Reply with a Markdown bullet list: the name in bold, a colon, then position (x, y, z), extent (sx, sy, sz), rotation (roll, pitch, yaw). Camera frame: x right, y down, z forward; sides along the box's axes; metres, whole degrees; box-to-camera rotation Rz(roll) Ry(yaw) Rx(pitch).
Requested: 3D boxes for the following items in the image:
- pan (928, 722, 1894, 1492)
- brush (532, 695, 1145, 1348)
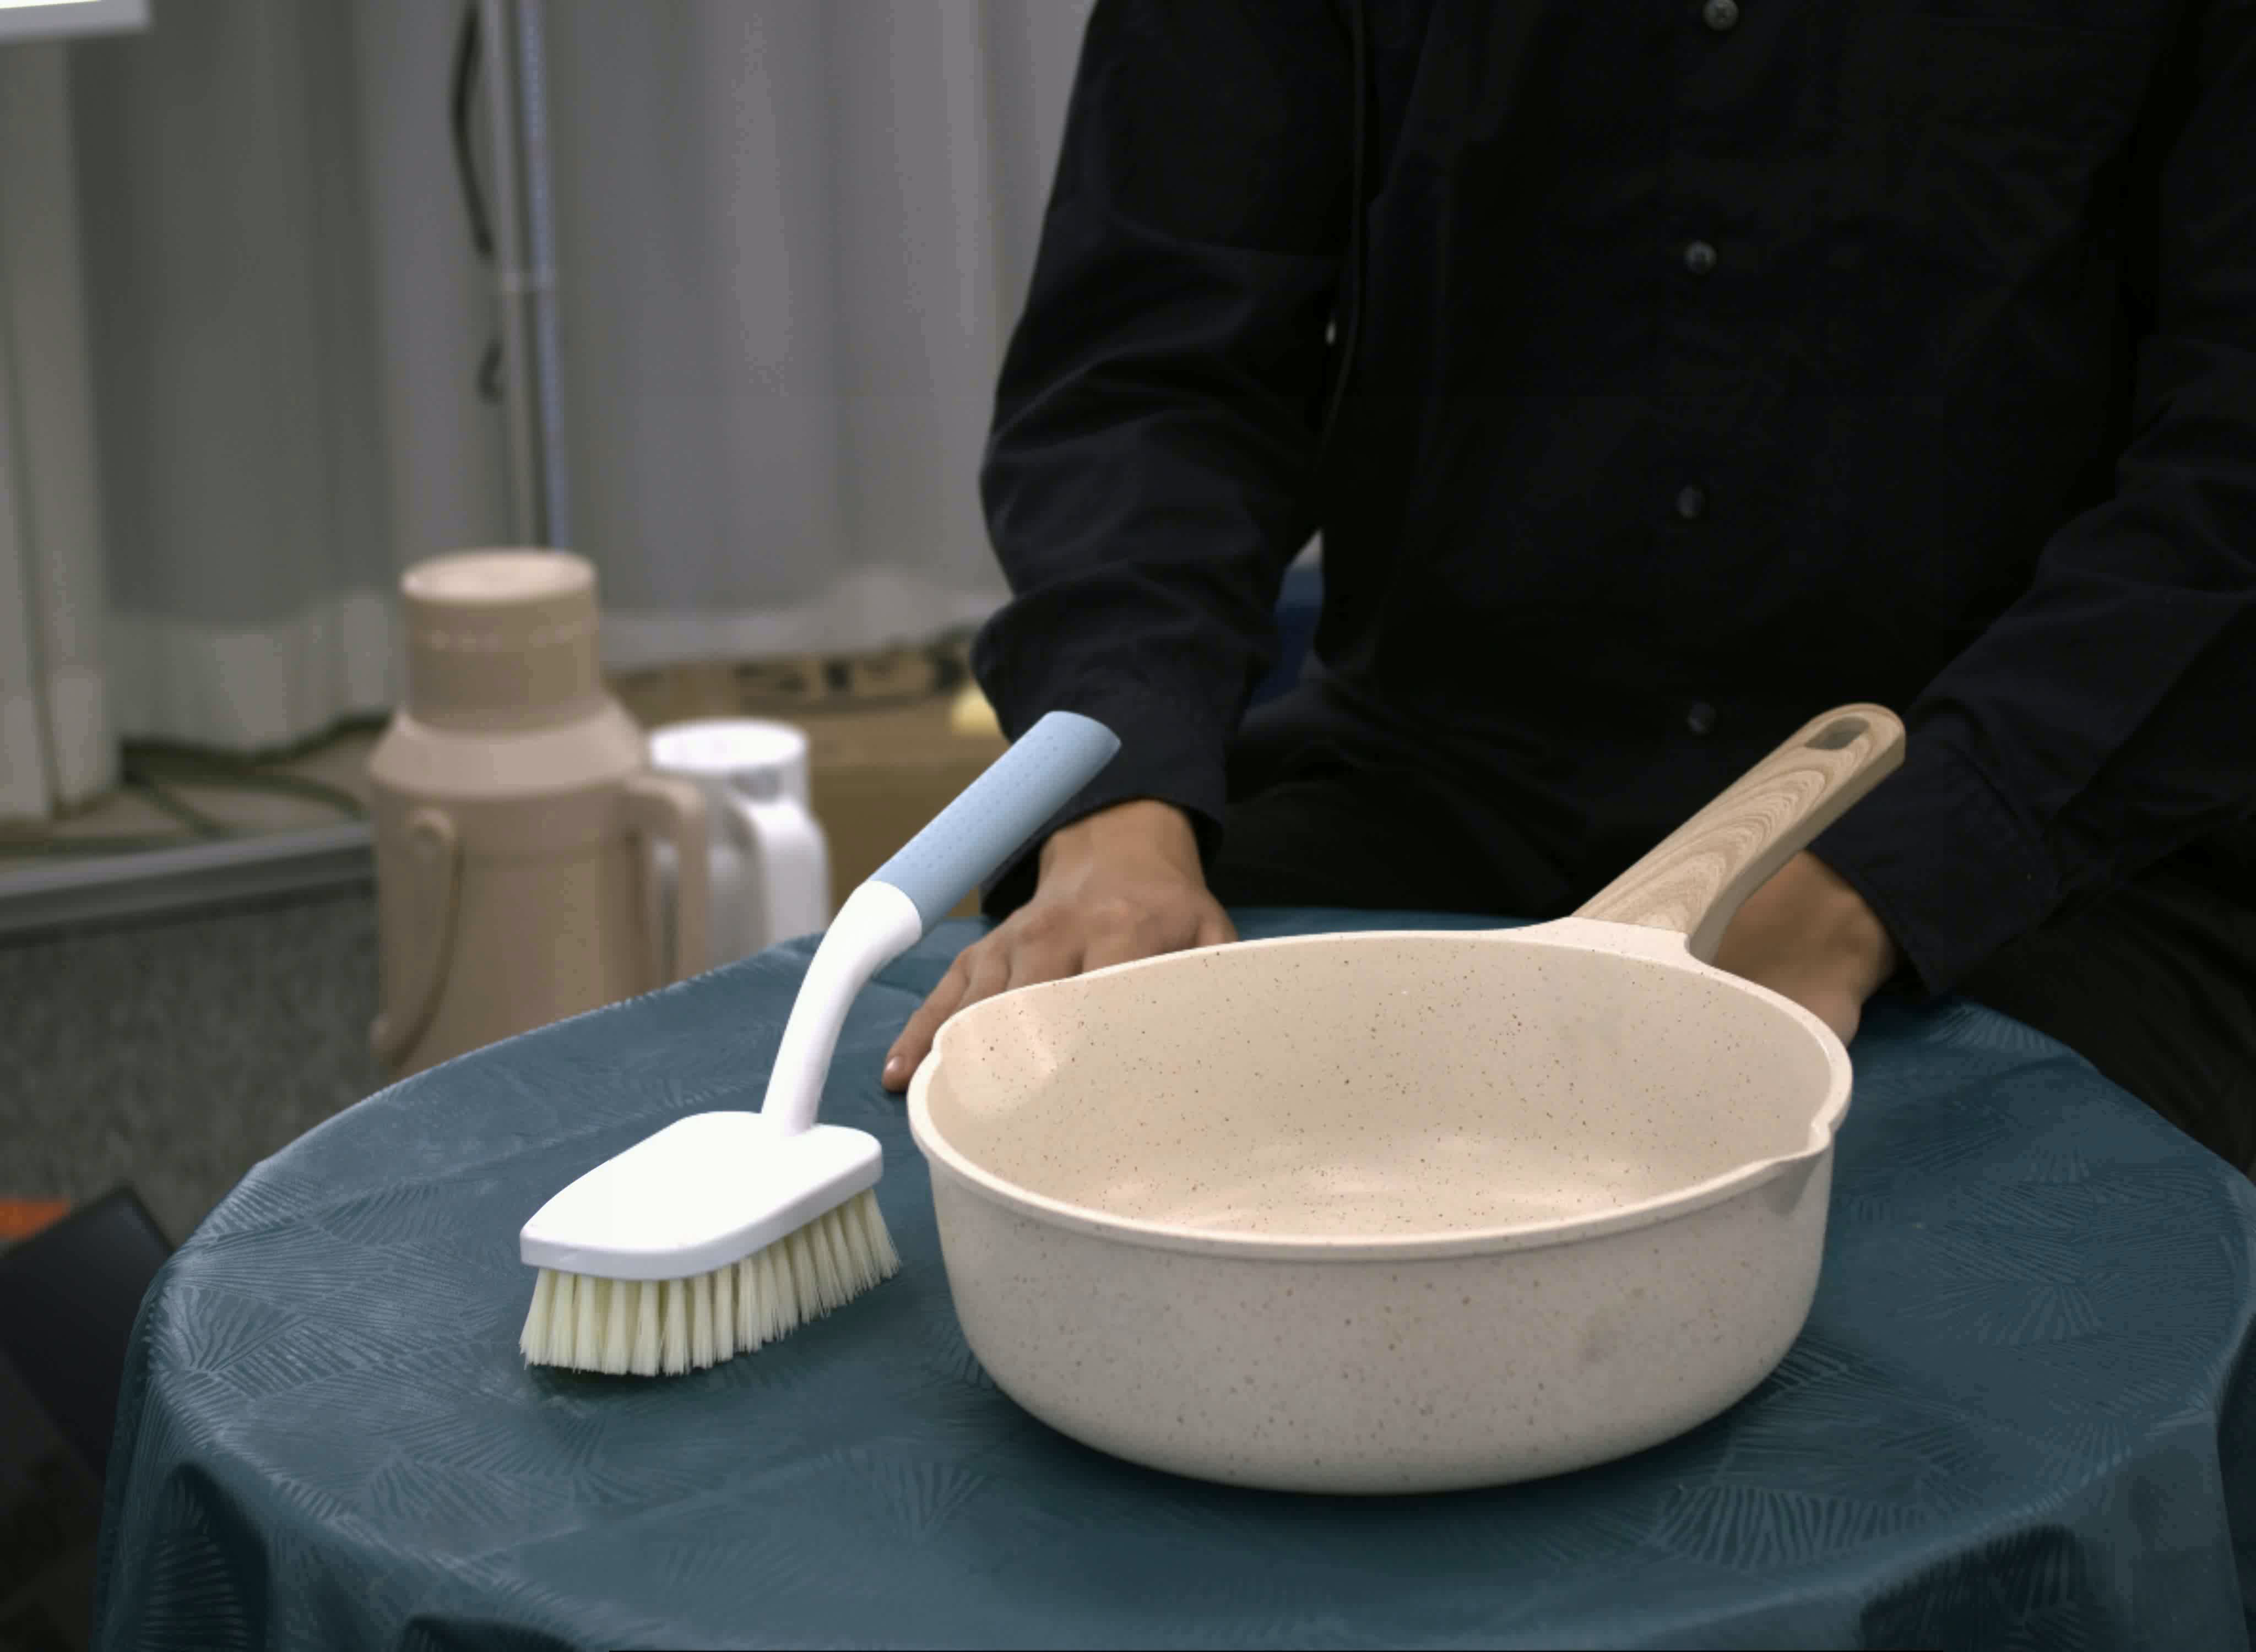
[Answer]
- **pan**: position (0.120, 0.073, 1.486), extent (0.268, 0.102, 0.427), rotation (7, 19, 32)
- **brush**: position (-0.070, 0.070, 1.557), extent (0.083, 0.085, 0.321), rotation (38, 41, 7)
